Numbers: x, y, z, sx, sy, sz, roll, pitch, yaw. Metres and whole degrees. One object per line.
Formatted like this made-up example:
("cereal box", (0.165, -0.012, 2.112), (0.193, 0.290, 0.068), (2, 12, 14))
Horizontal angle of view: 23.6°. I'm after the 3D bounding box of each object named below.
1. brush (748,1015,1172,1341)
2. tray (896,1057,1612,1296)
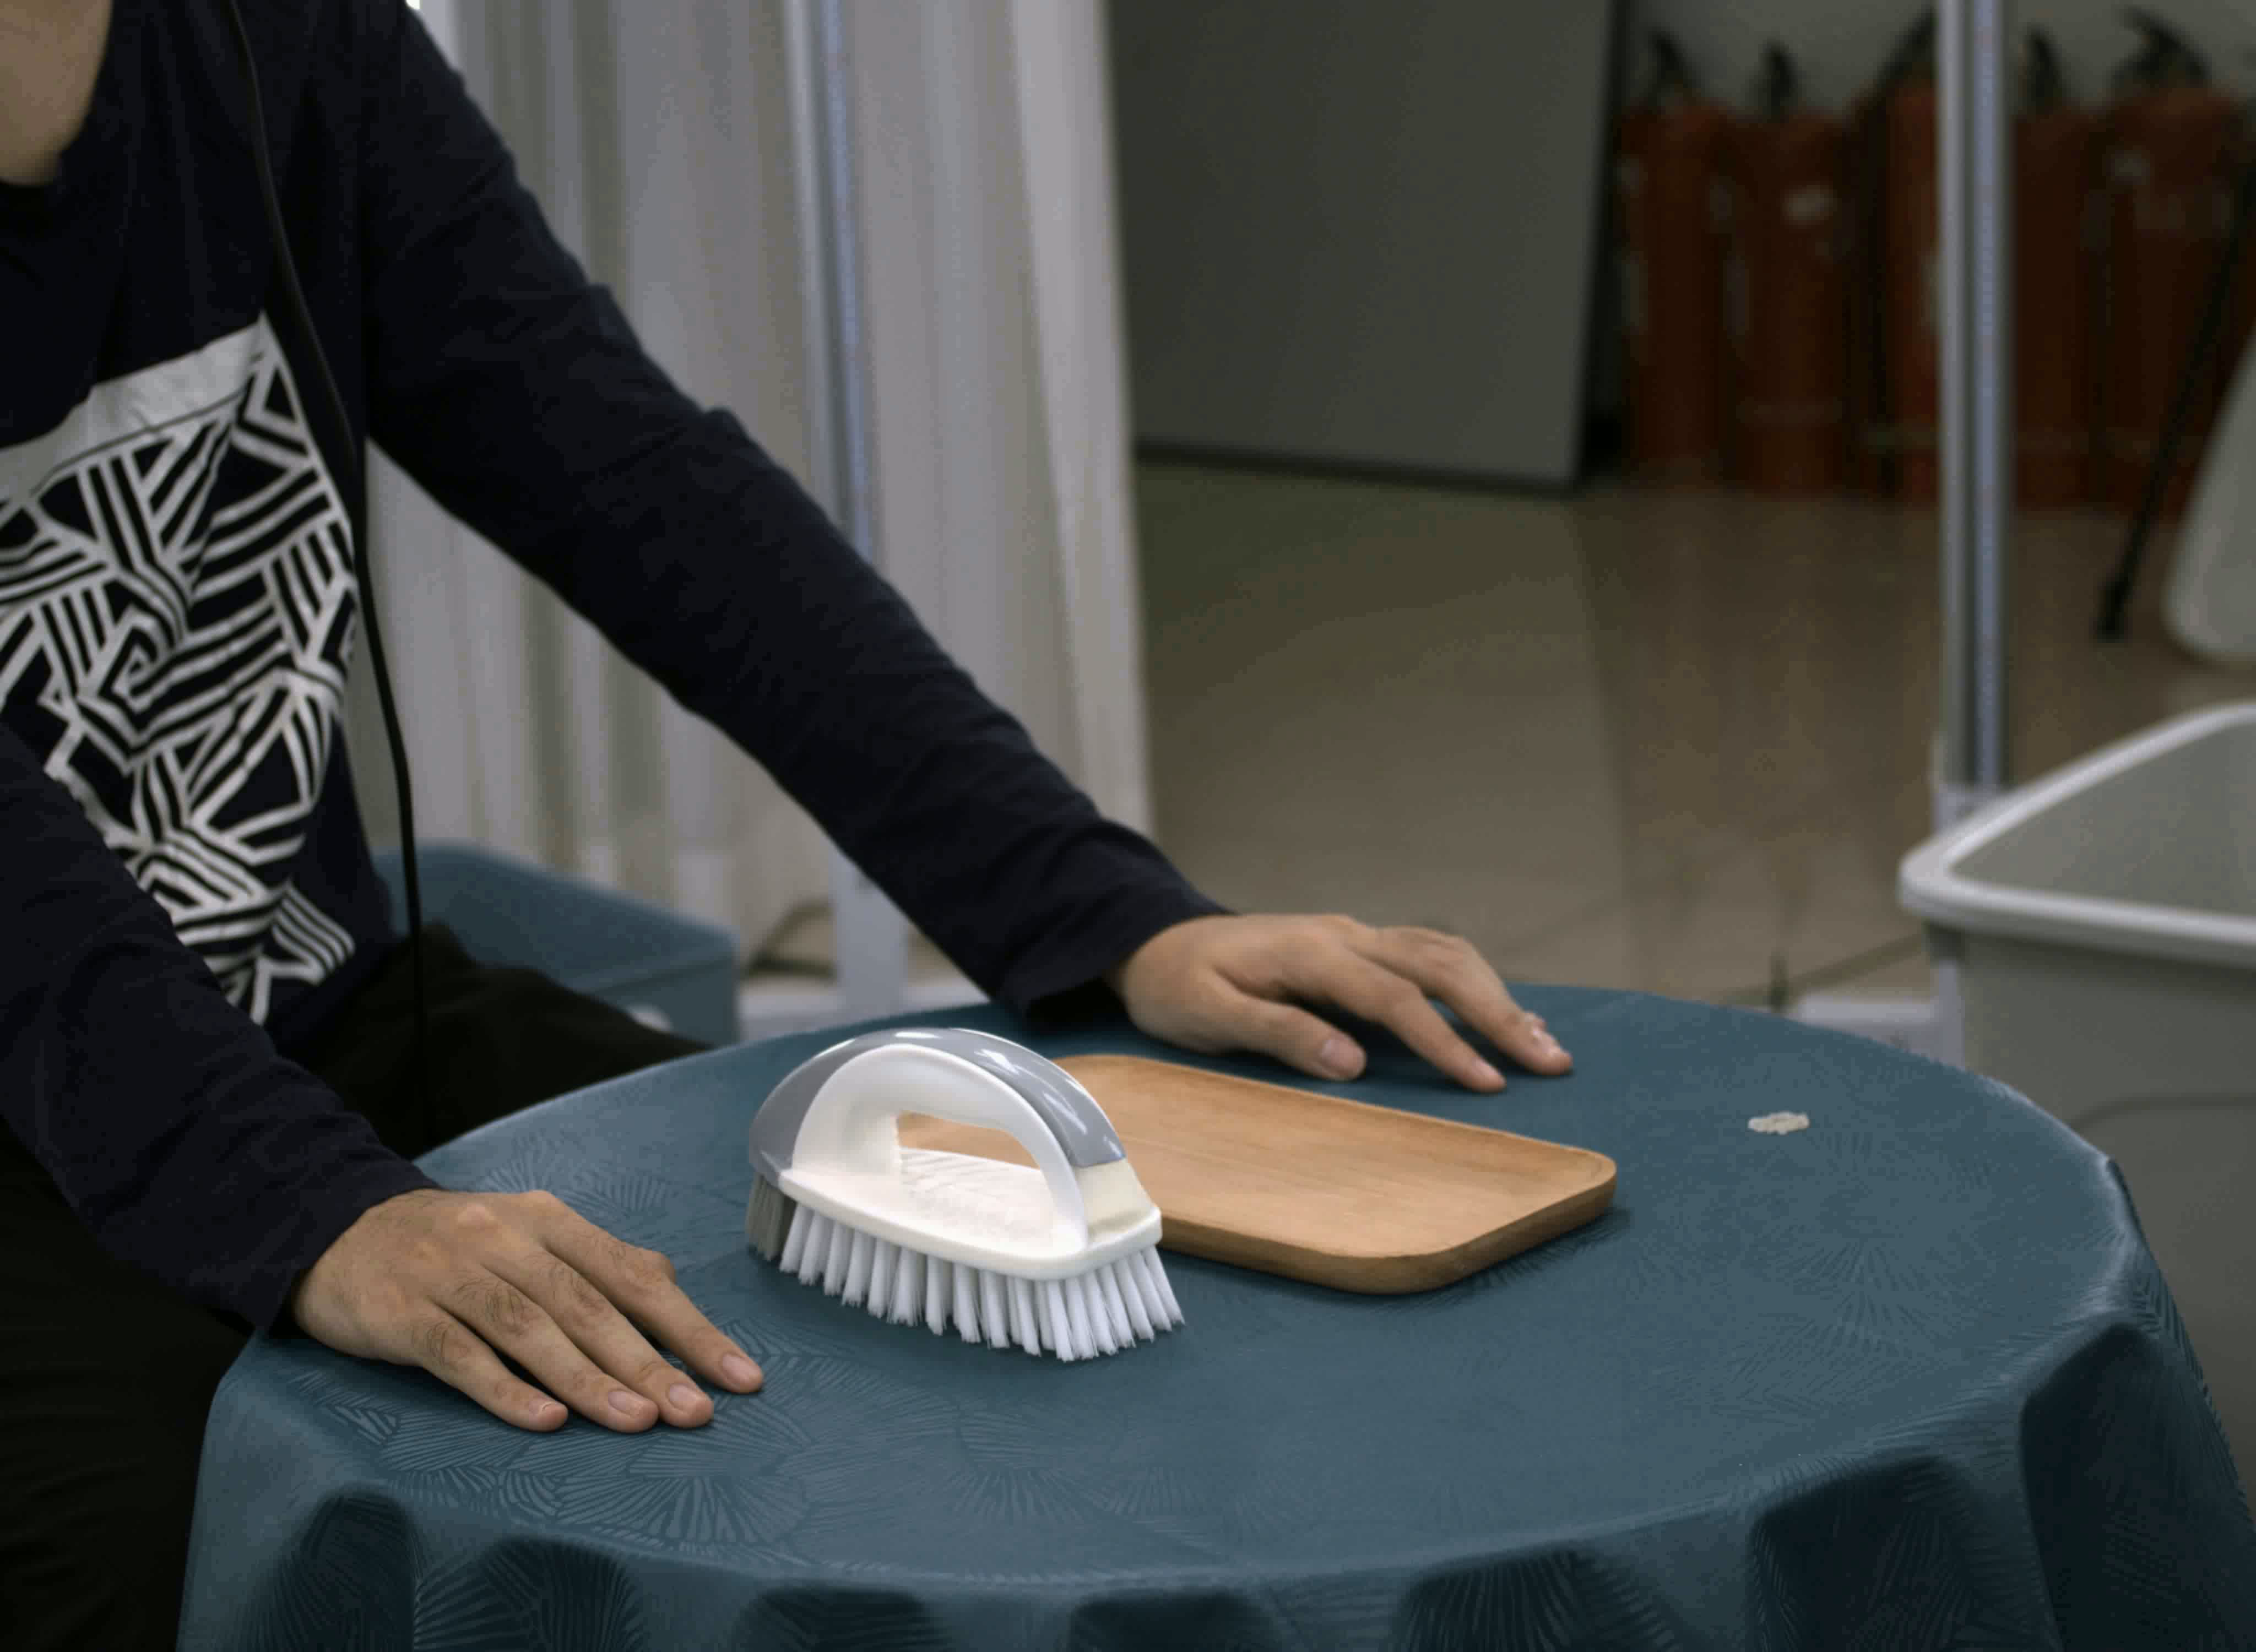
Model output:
("brush", (-0.063, 0.104, 1.672), (0.060, 0.095, 0.177), (-14, 14, -41))
("tray", (0.034, 0.113, 1.766), (0.128, 0.023, 0.253), (-14, 16, -43))
